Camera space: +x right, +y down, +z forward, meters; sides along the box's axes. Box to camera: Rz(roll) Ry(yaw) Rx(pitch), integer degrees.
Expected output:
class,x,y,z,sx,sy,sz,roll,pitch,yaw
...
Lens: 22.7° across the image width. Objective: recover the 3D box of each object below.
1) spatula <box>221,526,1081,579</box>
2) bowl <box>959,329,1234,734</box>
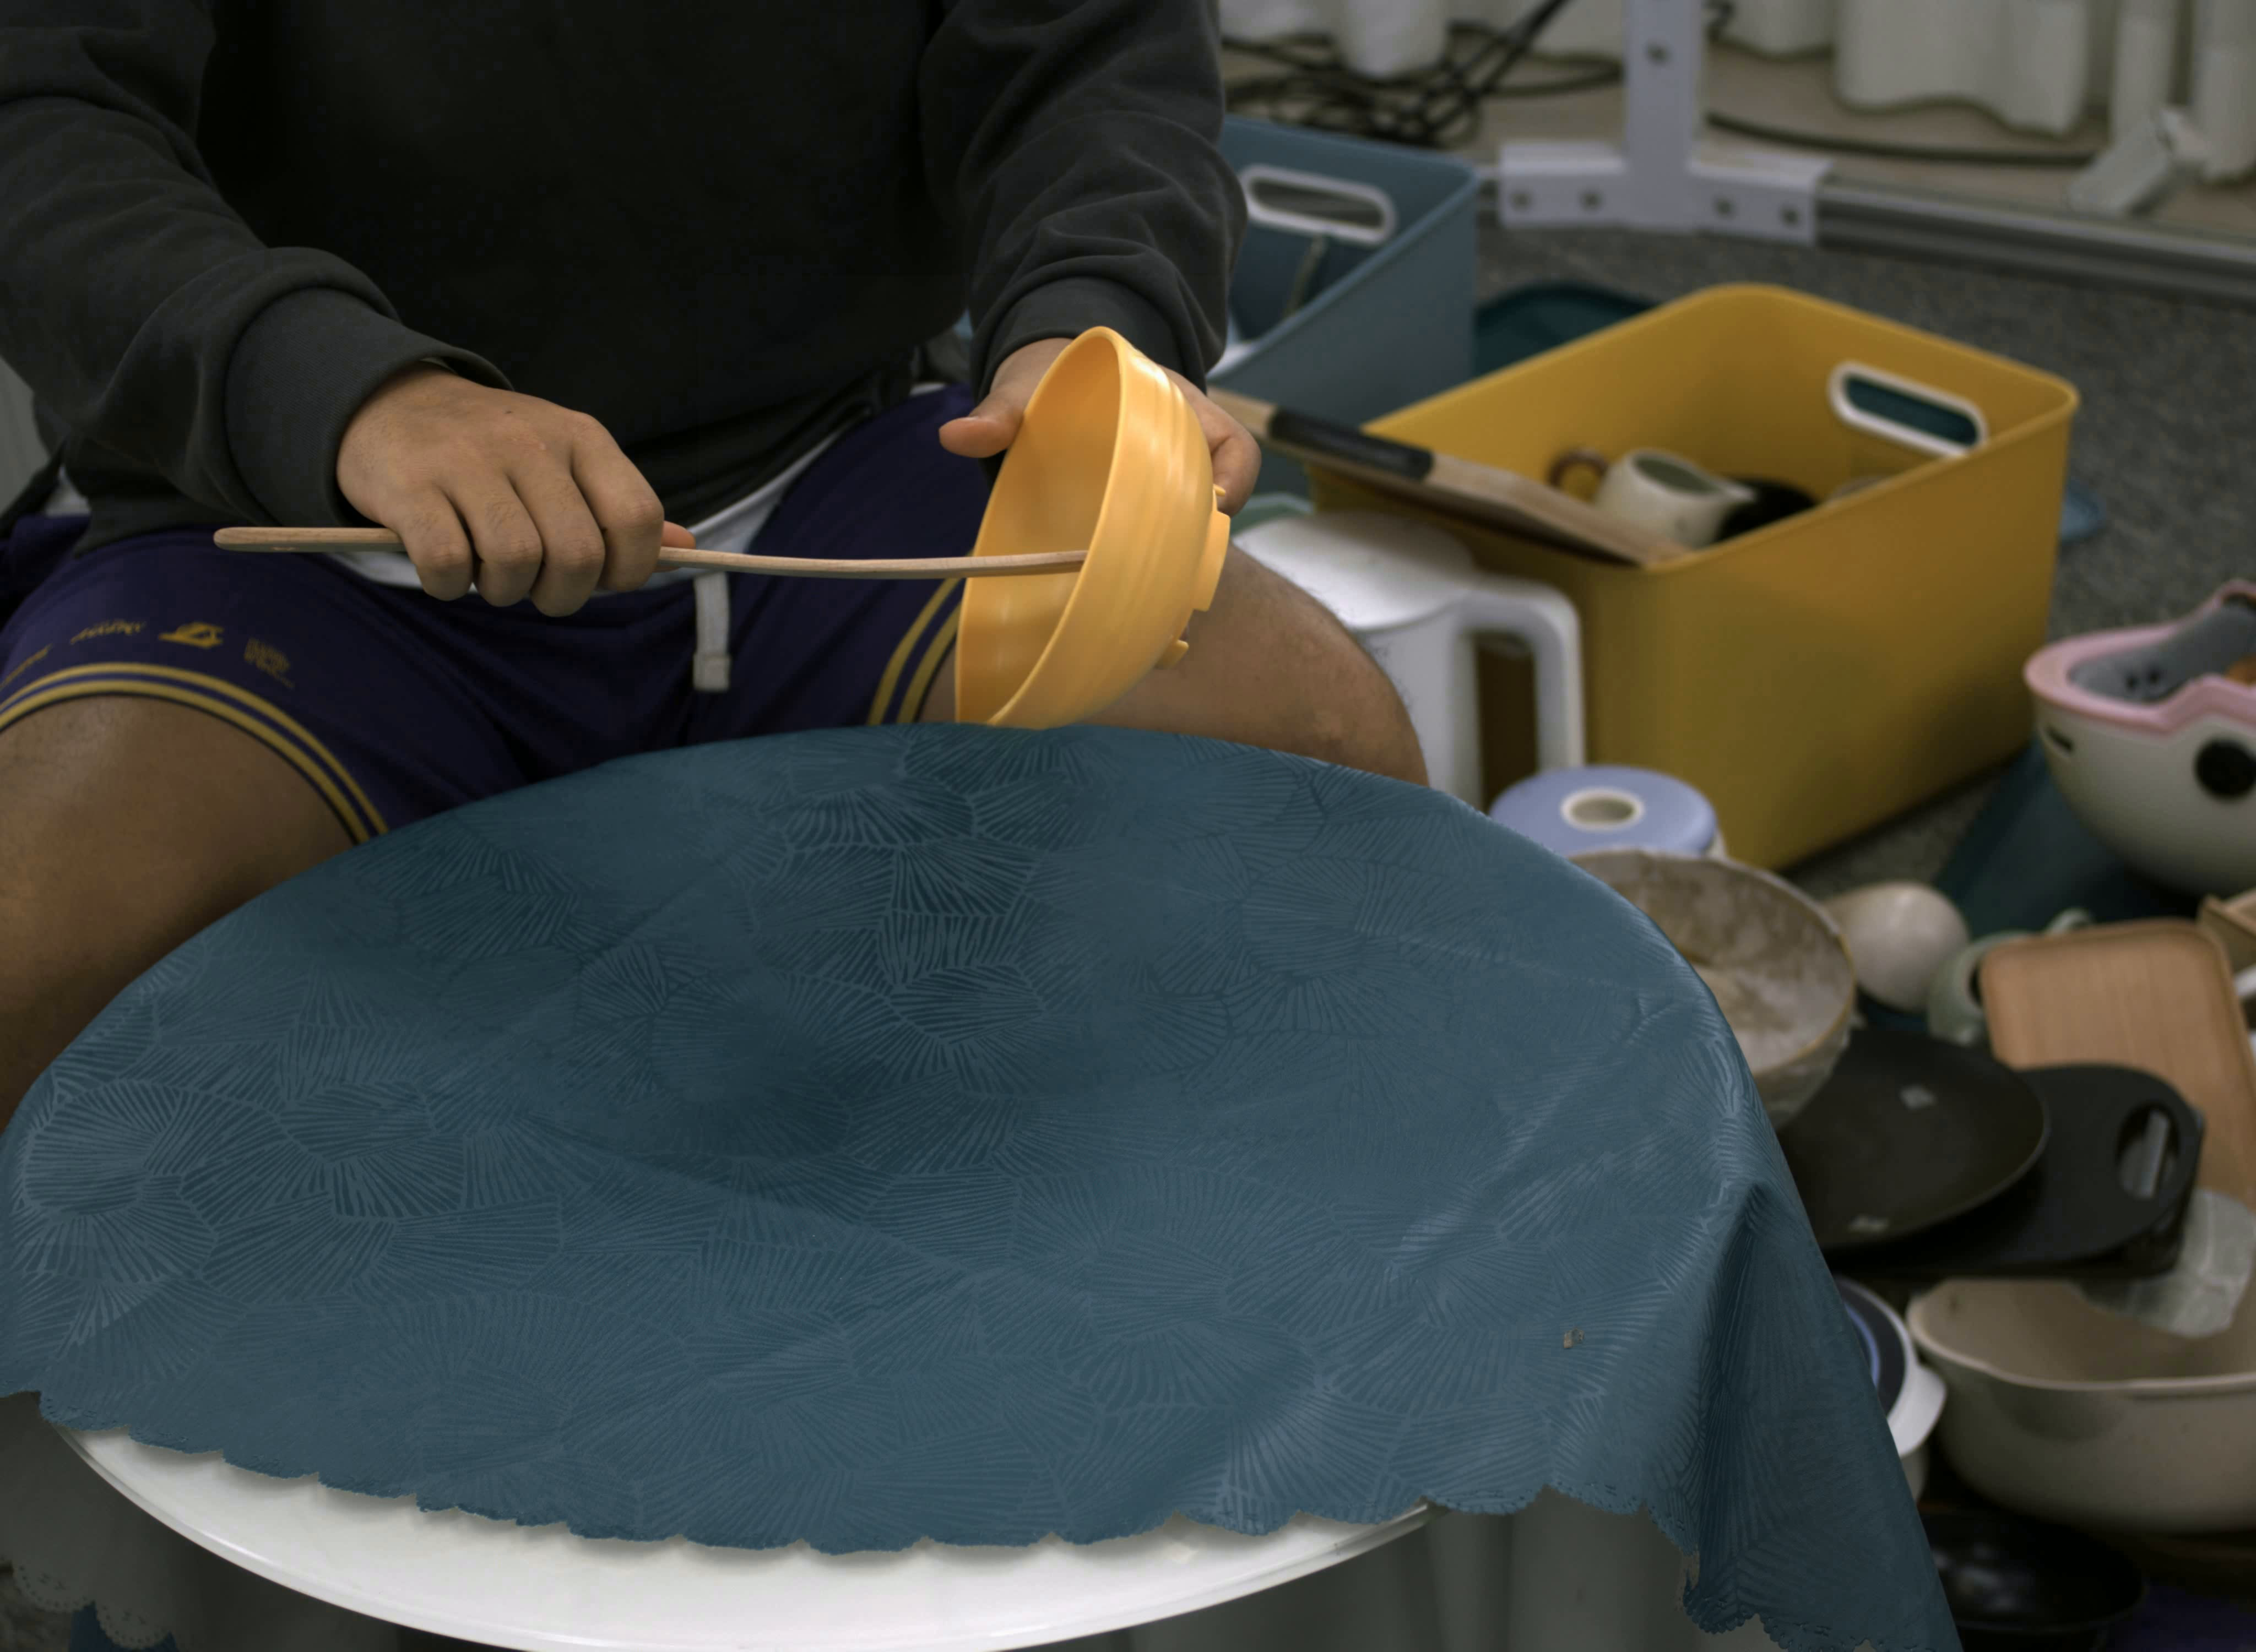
class,x,y,z,sx,sy,sz,roll,pitch,yaw
spatula,-0.141,-0.094,1.904,0.327,0.016,0.079,2,-2,-10
bowl,-0.004,-0.092,1.927,0.060,0.144,0.147,19,23,-14
